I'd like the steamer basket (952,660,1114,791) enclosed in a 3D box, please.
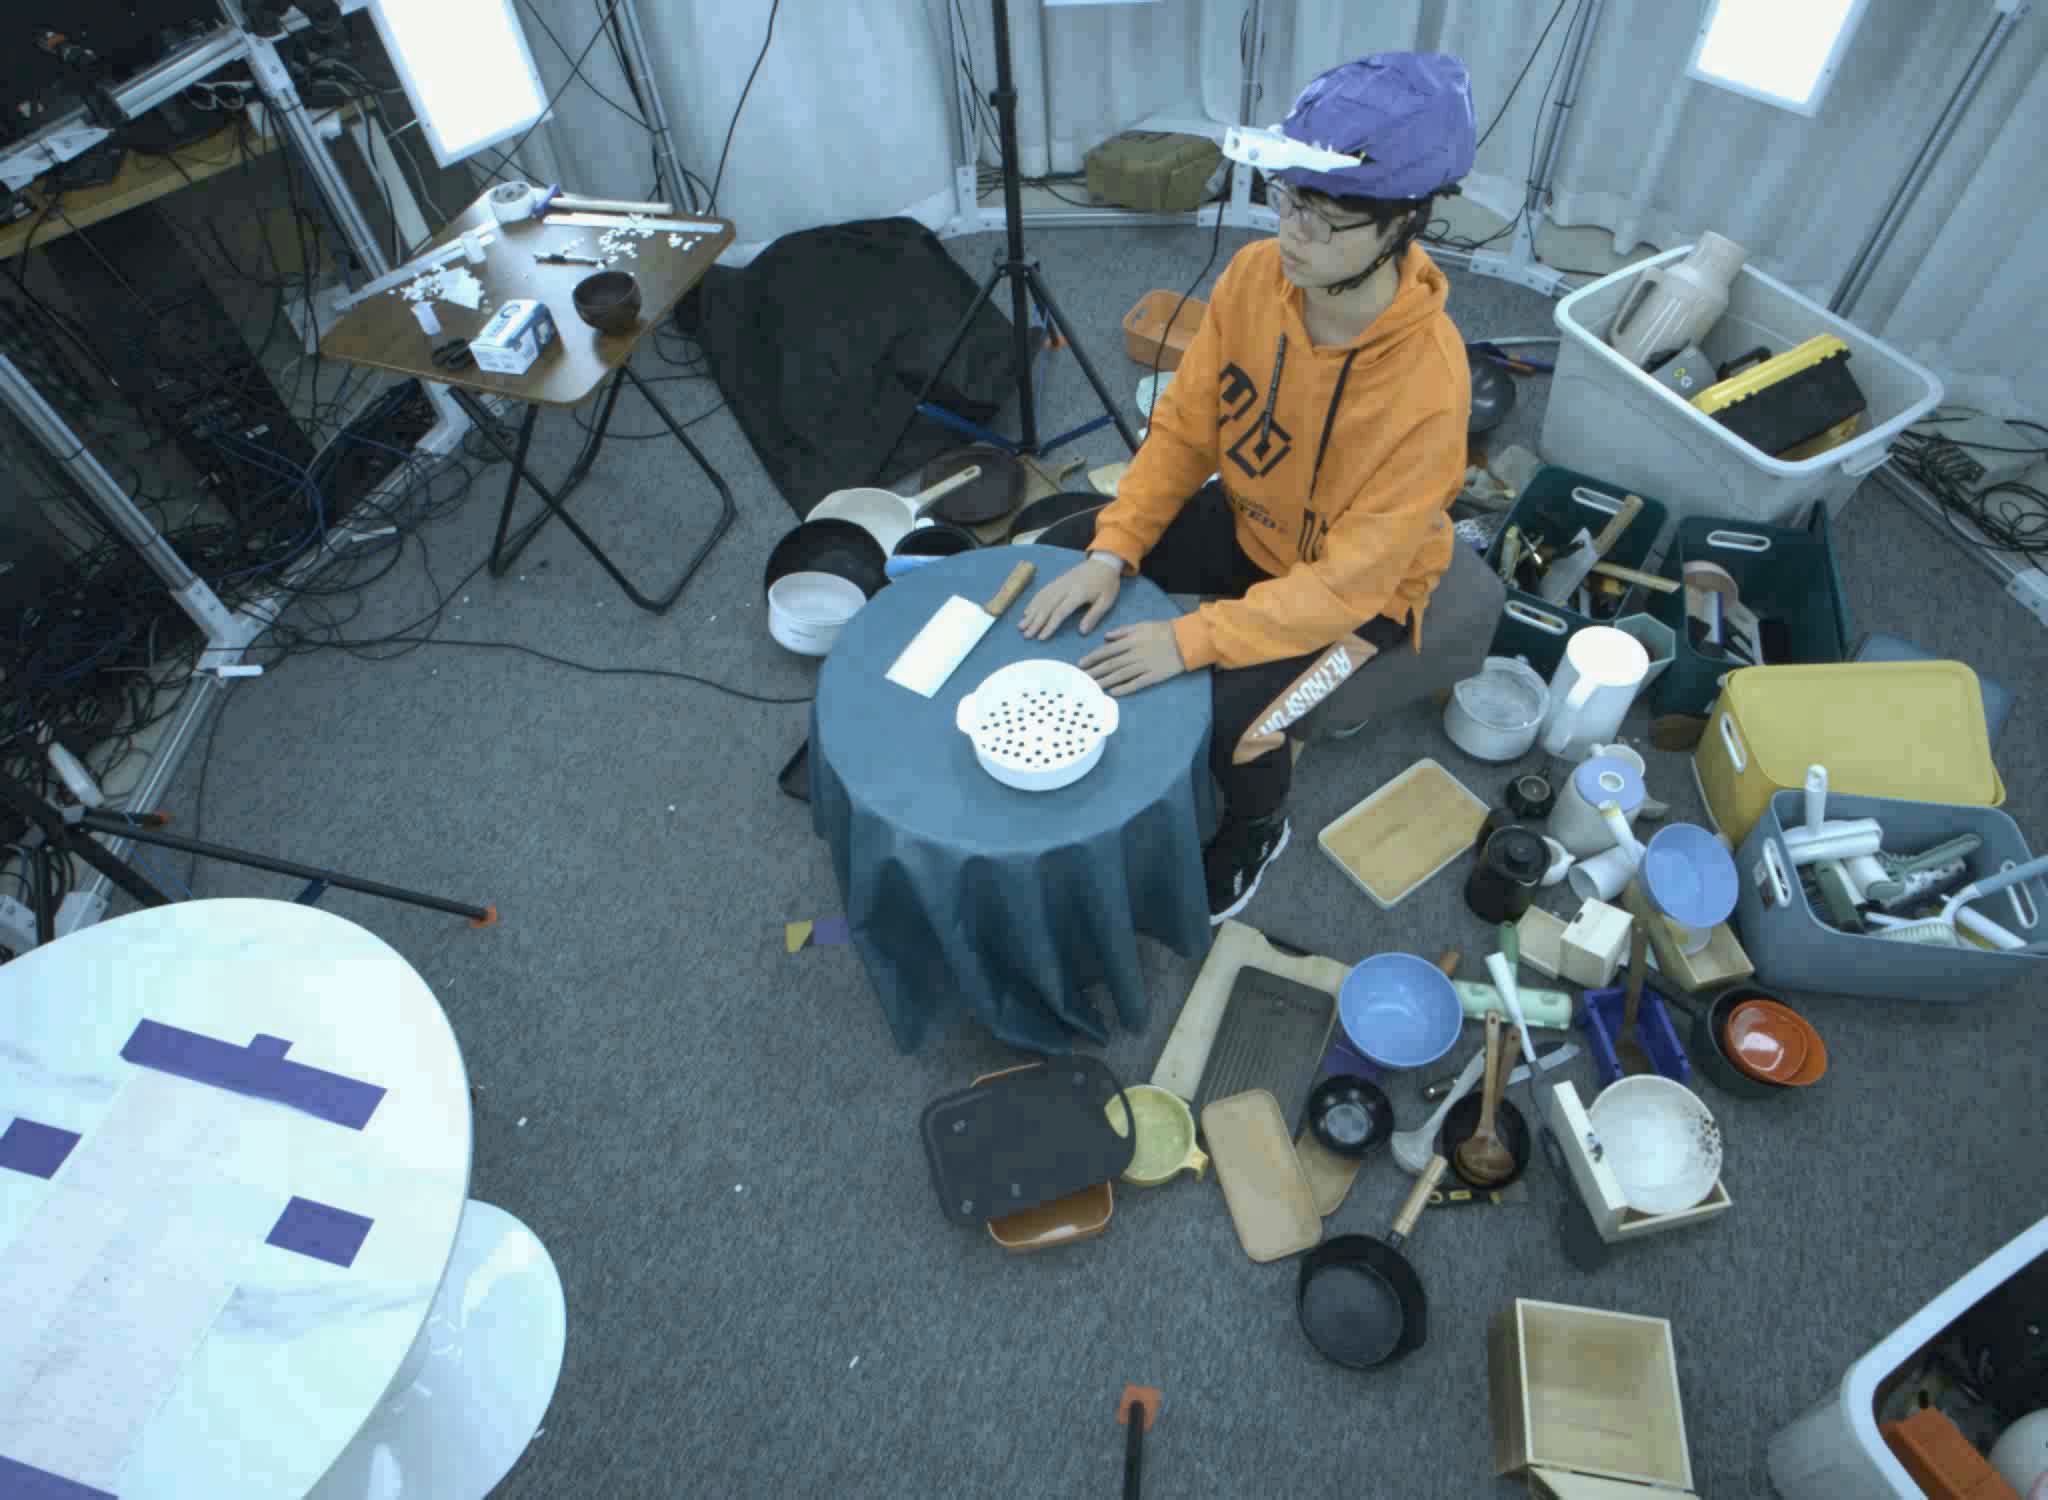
[{"bbox_3d":[0.015,-0.034,1.768,0.230,0.070,0.200,0,54,5],"label":"steamer basket"}]

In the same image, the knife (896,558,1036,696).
[{"bbox_3d":[-0.095,-0.205,1.926,0.091,0.021,0.307,26,62,21],"label":"knife"}]
